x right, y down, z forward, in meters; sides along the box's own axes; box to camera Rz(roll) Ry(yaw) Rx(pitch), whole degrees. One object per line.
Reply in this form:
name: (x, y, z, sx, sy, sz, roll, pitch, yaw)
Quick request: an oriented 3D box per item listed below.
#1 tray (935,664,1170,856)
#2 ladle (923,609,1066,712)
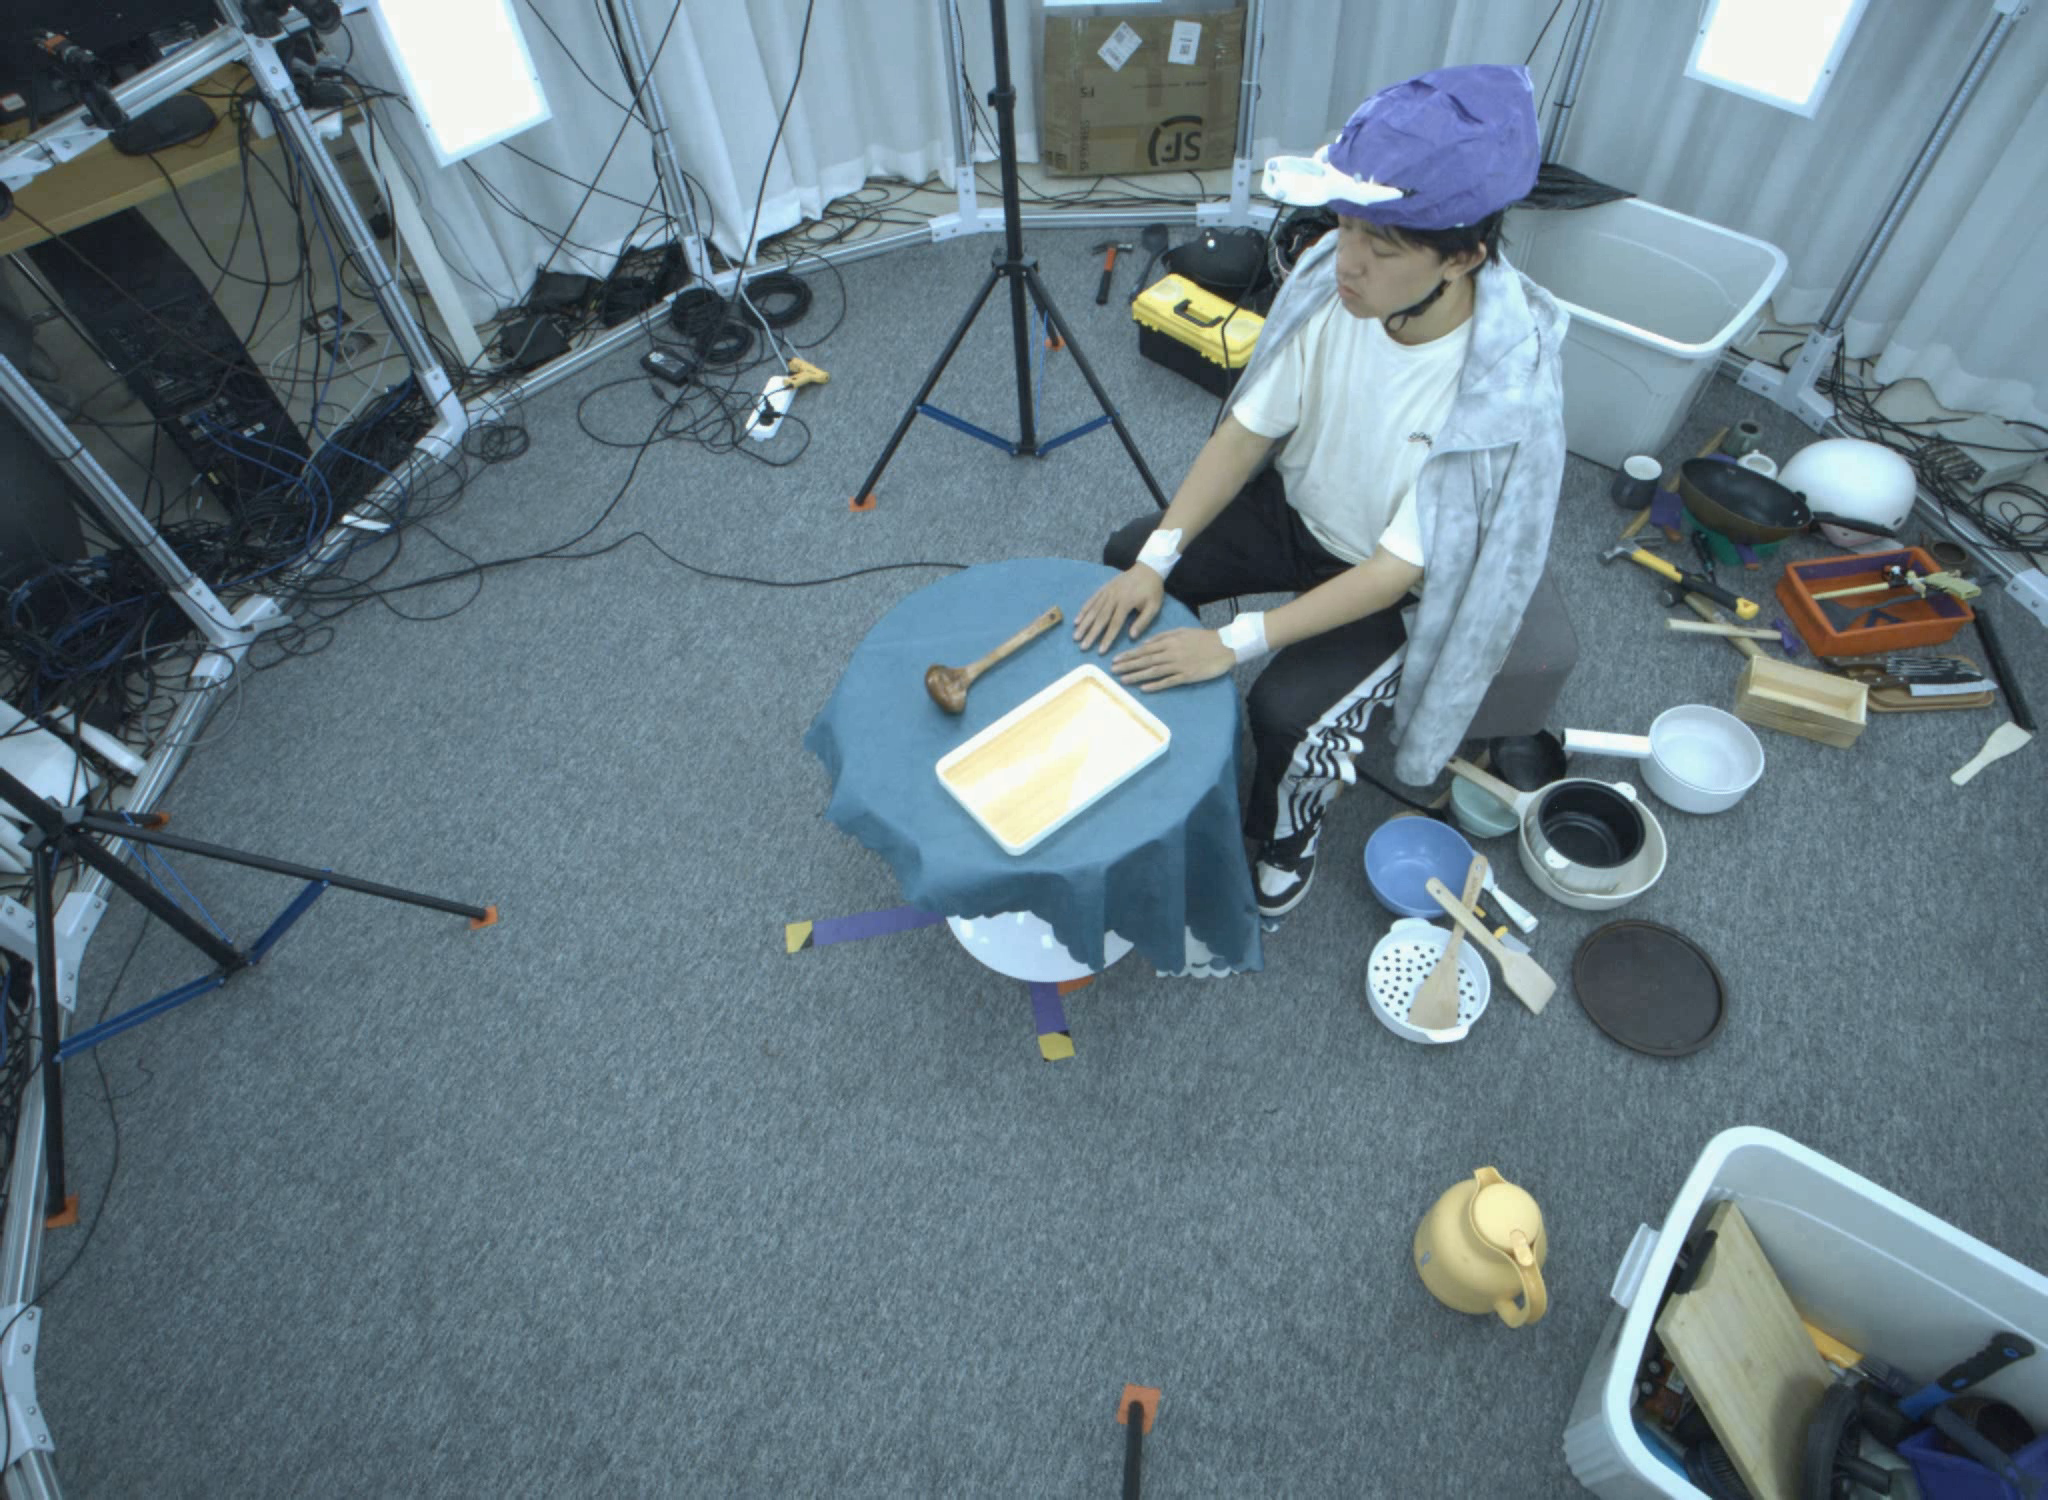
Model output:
tray: (0.042, 0.008, 1.765, 0.302, 0.028, 0.188, -34, 60, -20)
ladle: (-0.037, -0.148, 1.852, 0.276, 0.075, 0.082, -34, 99, -21)
